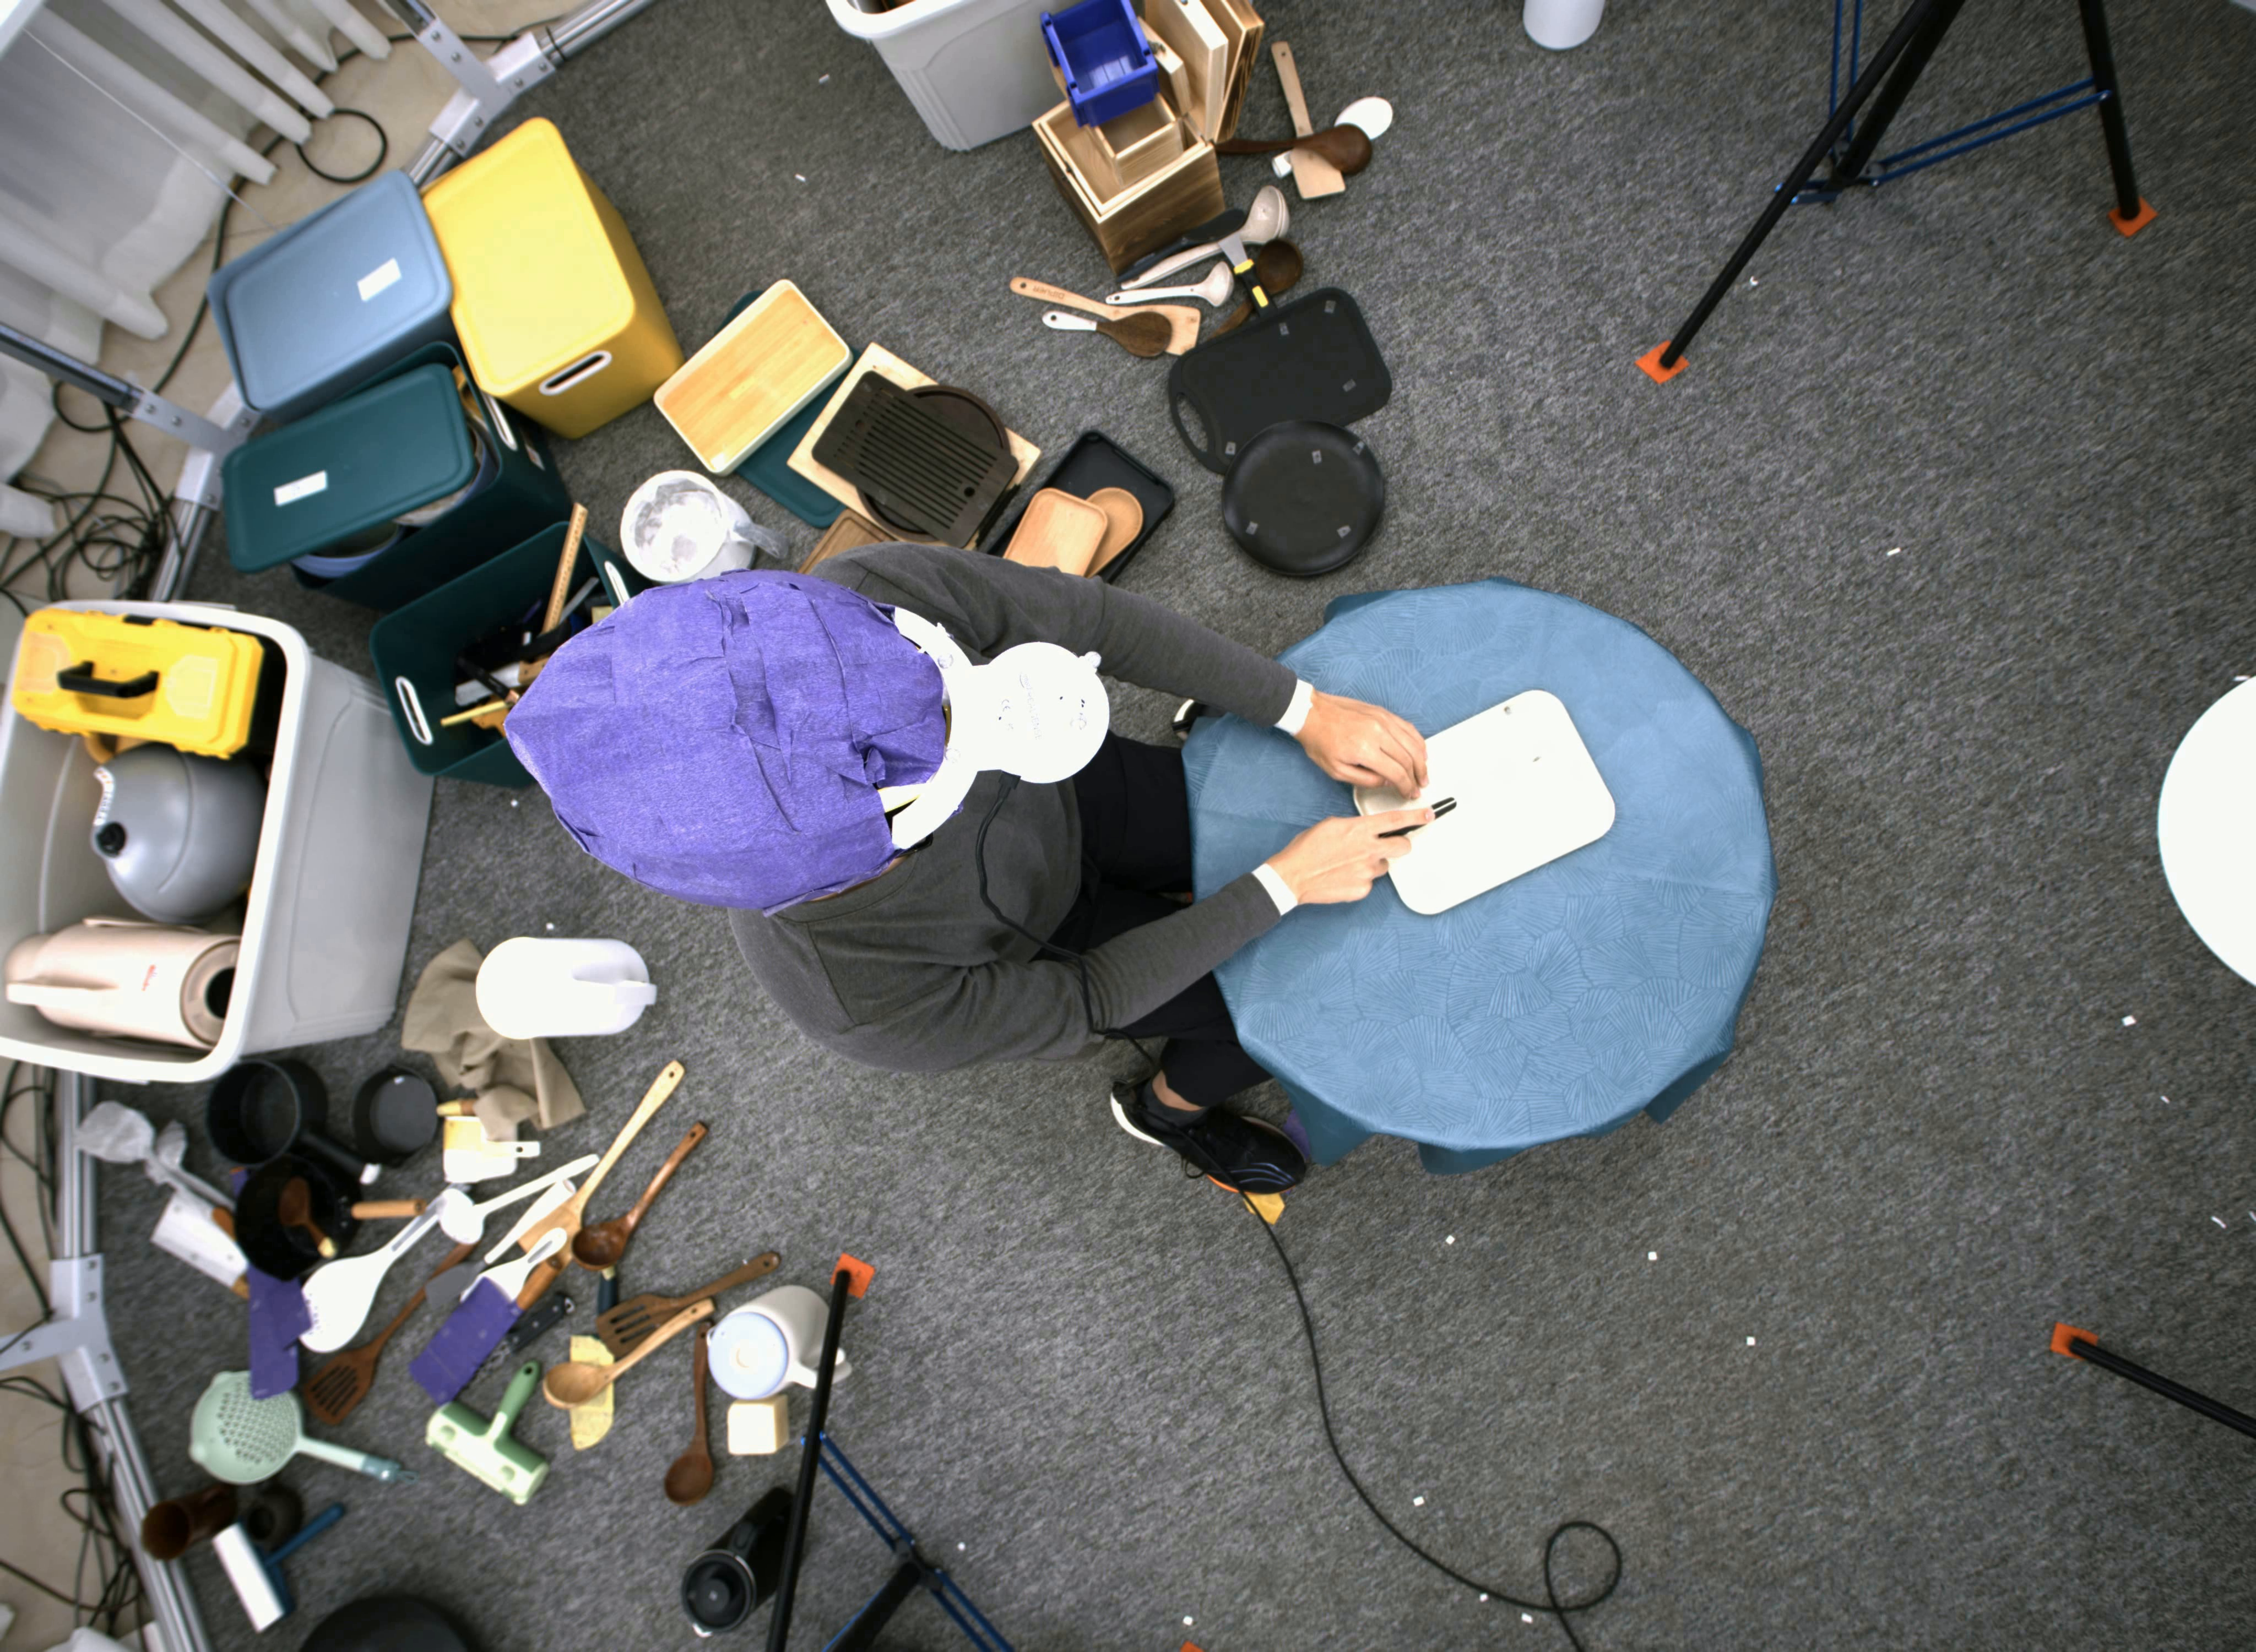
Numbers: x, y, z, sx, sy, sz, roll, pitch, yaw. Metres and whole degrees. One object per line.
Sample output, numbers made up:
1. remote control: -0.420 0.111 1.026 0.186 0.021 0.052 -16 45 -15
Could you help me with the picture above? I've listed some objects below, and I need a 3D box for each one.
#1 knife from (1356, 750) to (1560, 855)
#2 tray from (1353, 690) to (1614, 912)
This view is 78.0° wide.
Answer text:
1. knife: 0.343 -0.030 1.420 0.238 0.024 0.016 -26 80 0
2. tray: 0.370 -0.027 1.438 0.241 0.017 0.170 -25 83 8
